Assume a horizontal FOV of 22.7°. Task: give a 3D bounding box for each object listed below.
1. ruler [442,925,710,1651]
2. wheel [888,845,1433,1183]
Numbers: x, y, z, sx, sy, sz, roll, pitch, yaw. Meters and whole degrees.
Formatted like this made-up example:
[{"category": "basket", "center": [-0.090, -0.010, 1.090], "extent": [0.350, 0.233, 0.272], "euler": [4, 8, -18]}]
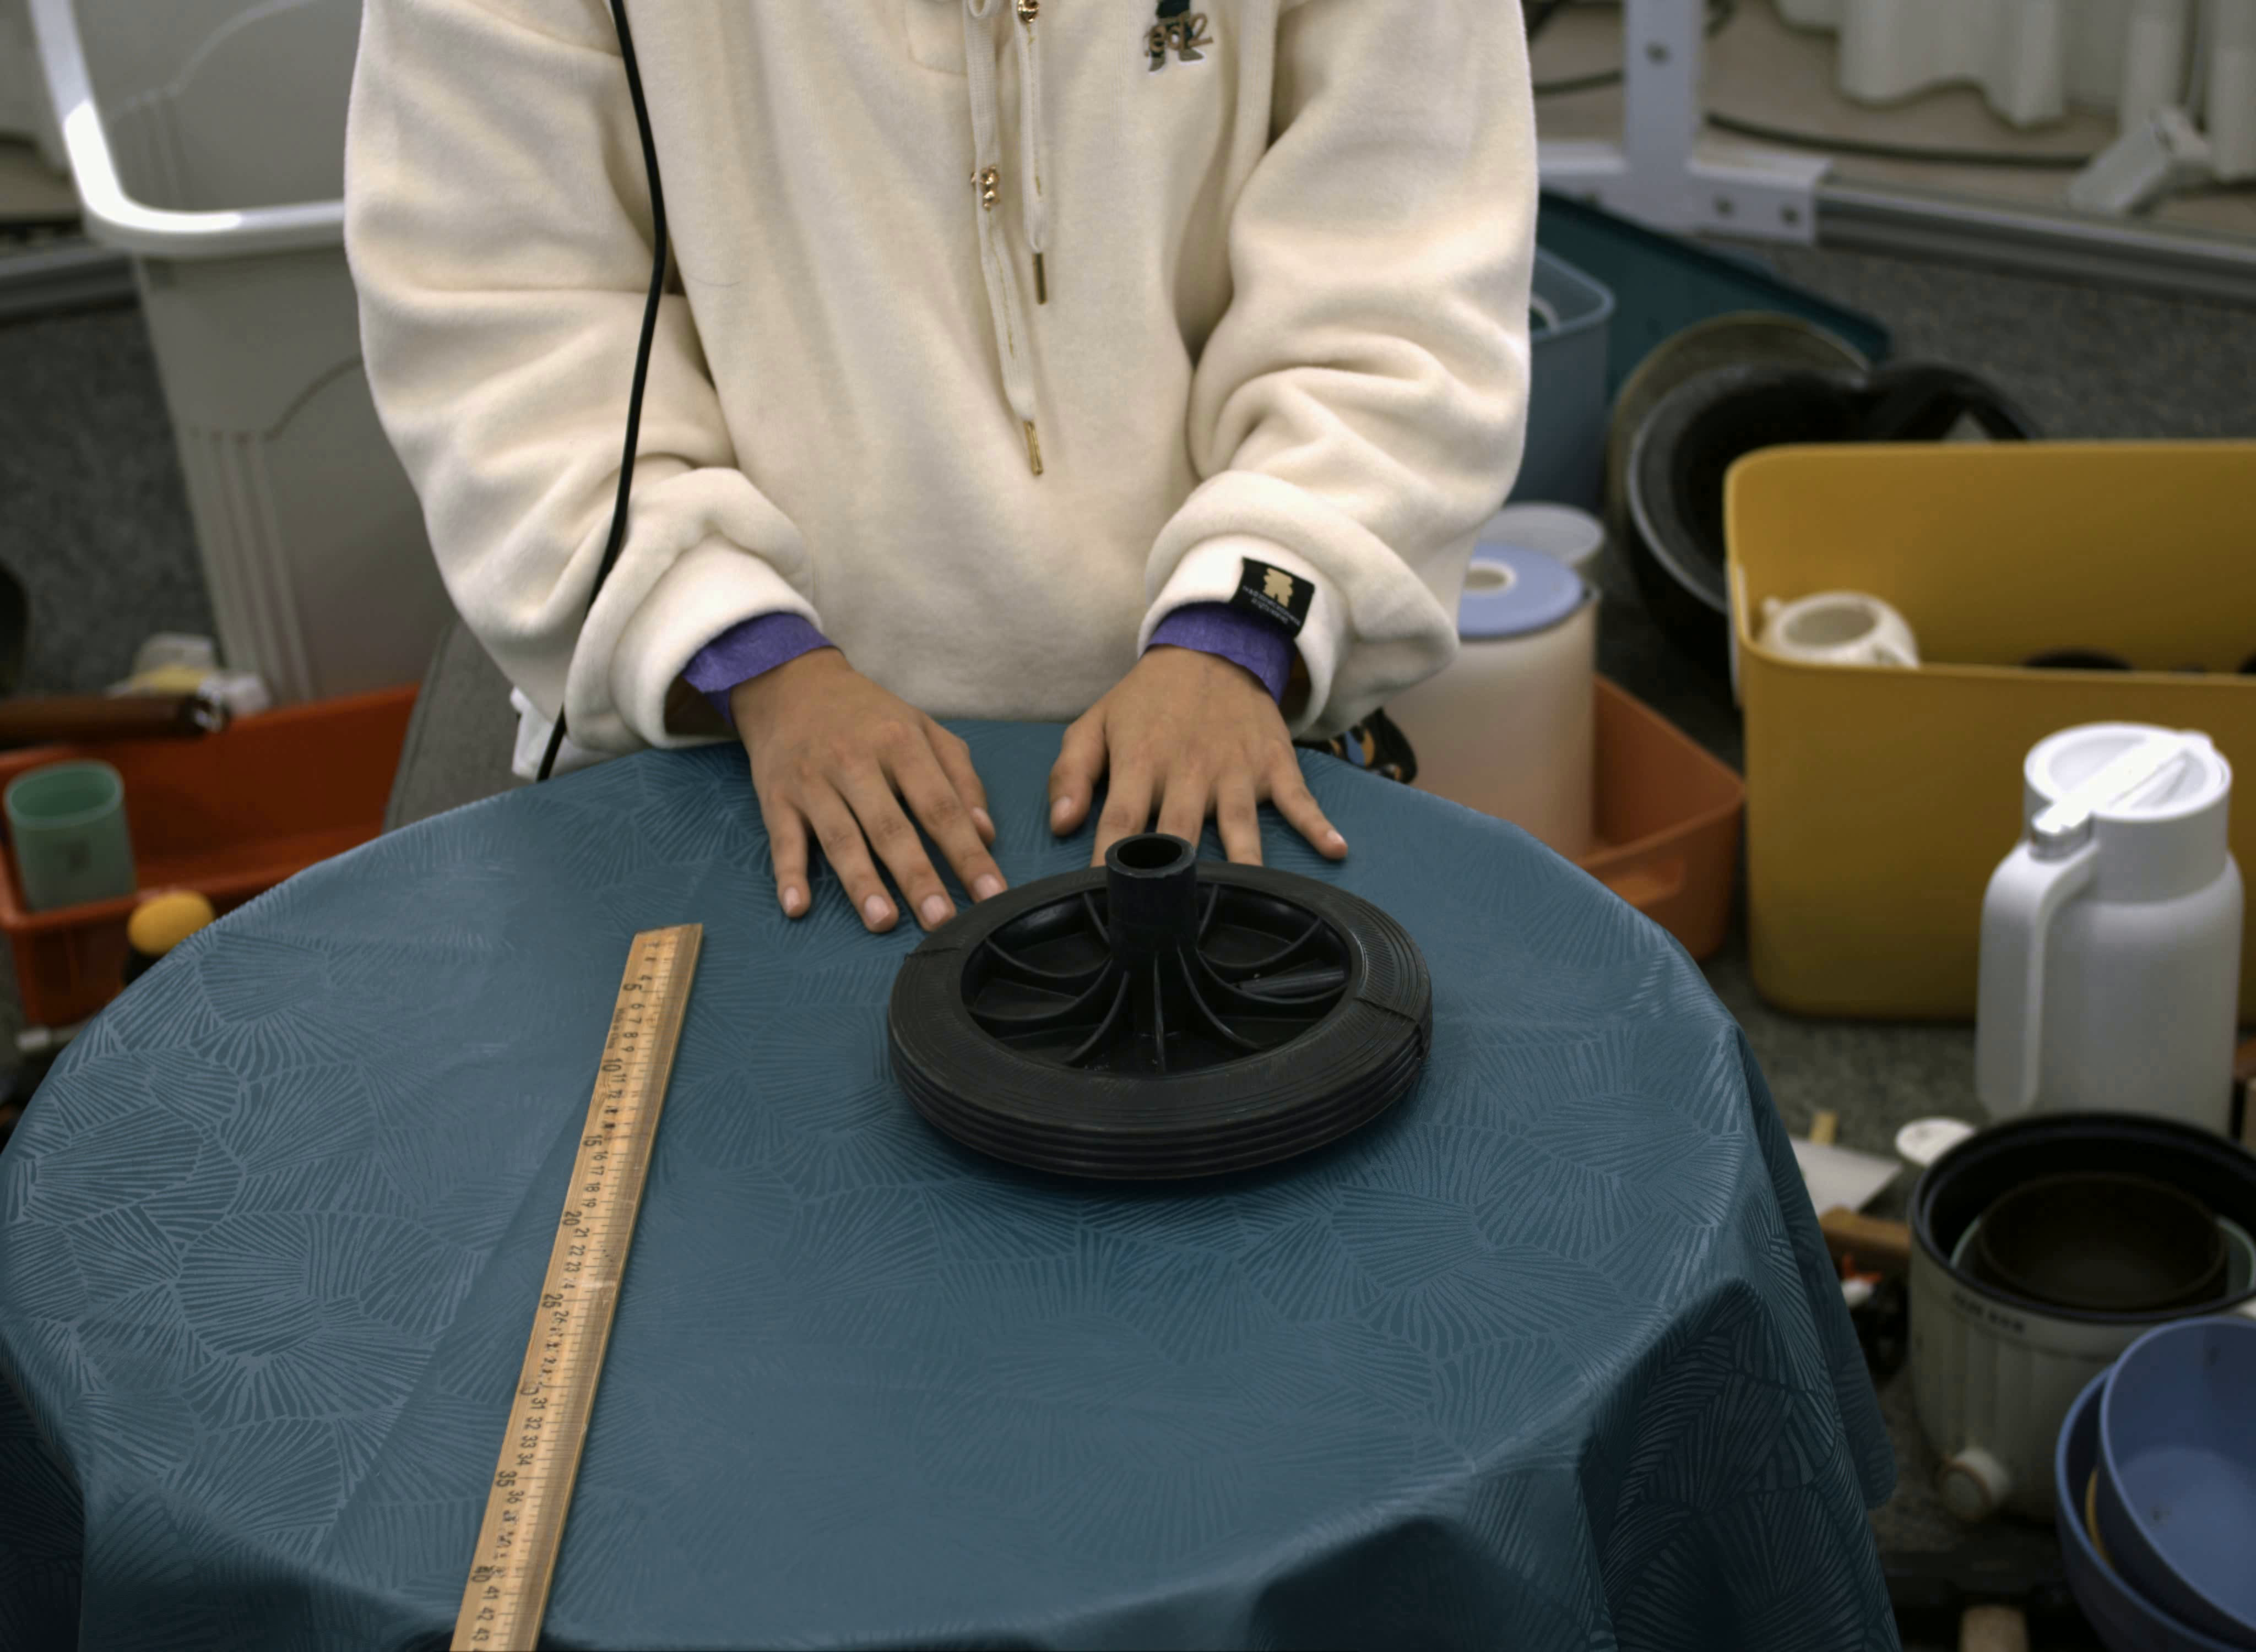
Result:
[{"category": "ruler", "center": [-0.178, 0.155, 1.809], "extent": [0.026, 0.006, 0.508], "euler": [-2, 27, 5]}, {"category": "wheel", "center": [0.010, 0.048, 1.920], "extent": [0.191, 0.078, 0.188], "euler": [-19, 31, -30]}]
